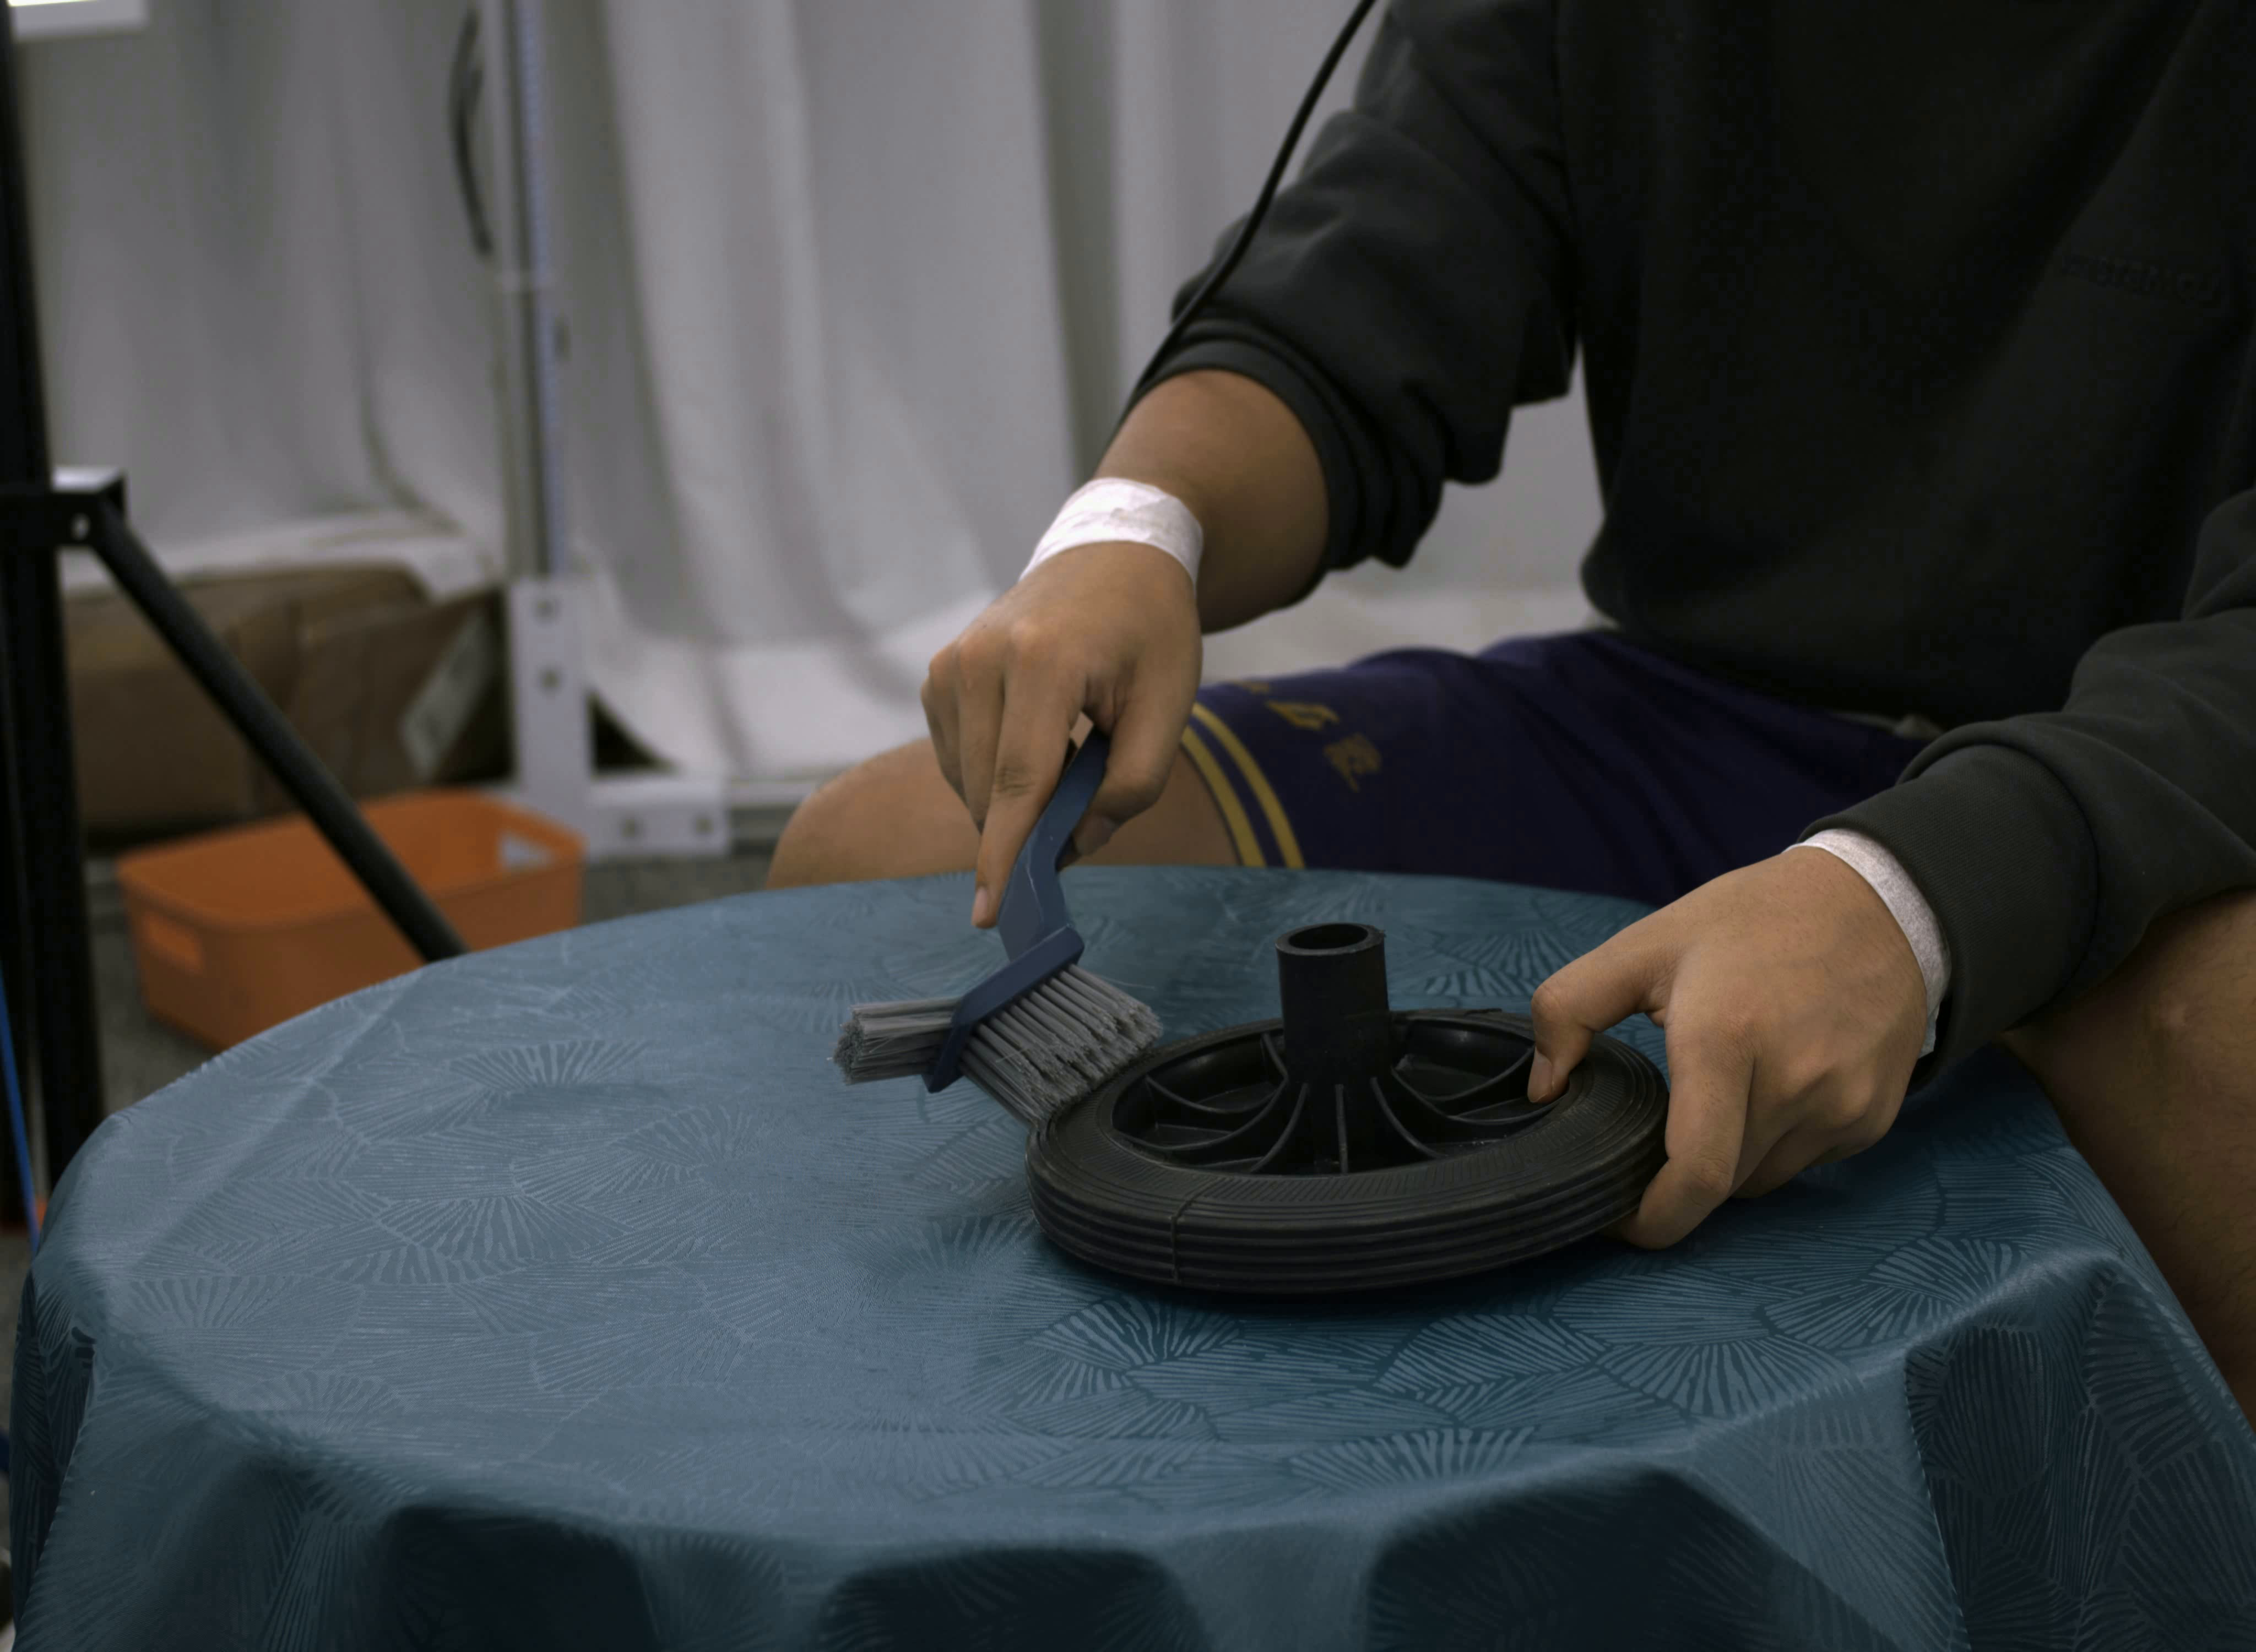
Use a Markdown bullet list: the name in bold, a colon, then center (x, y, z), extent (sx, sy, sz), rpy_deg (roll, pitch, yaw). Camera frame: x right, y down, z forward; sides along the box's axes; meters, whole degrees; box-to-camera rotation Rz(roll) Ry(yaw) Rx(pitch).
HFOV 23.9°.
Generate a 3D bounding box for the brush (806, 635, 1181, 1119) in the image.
- **brush**: center (-0.032, 0.008, 1.651), extent (0.095, 0.033, 0.274), rpy_deg (17, 30, -3)

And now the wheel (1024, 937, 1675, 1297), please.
- **wheel**: center (0.062, 0.074, 1.528), extent (0.184, 0.079, 0.193), rpy_deg (-12, 16, -18)
